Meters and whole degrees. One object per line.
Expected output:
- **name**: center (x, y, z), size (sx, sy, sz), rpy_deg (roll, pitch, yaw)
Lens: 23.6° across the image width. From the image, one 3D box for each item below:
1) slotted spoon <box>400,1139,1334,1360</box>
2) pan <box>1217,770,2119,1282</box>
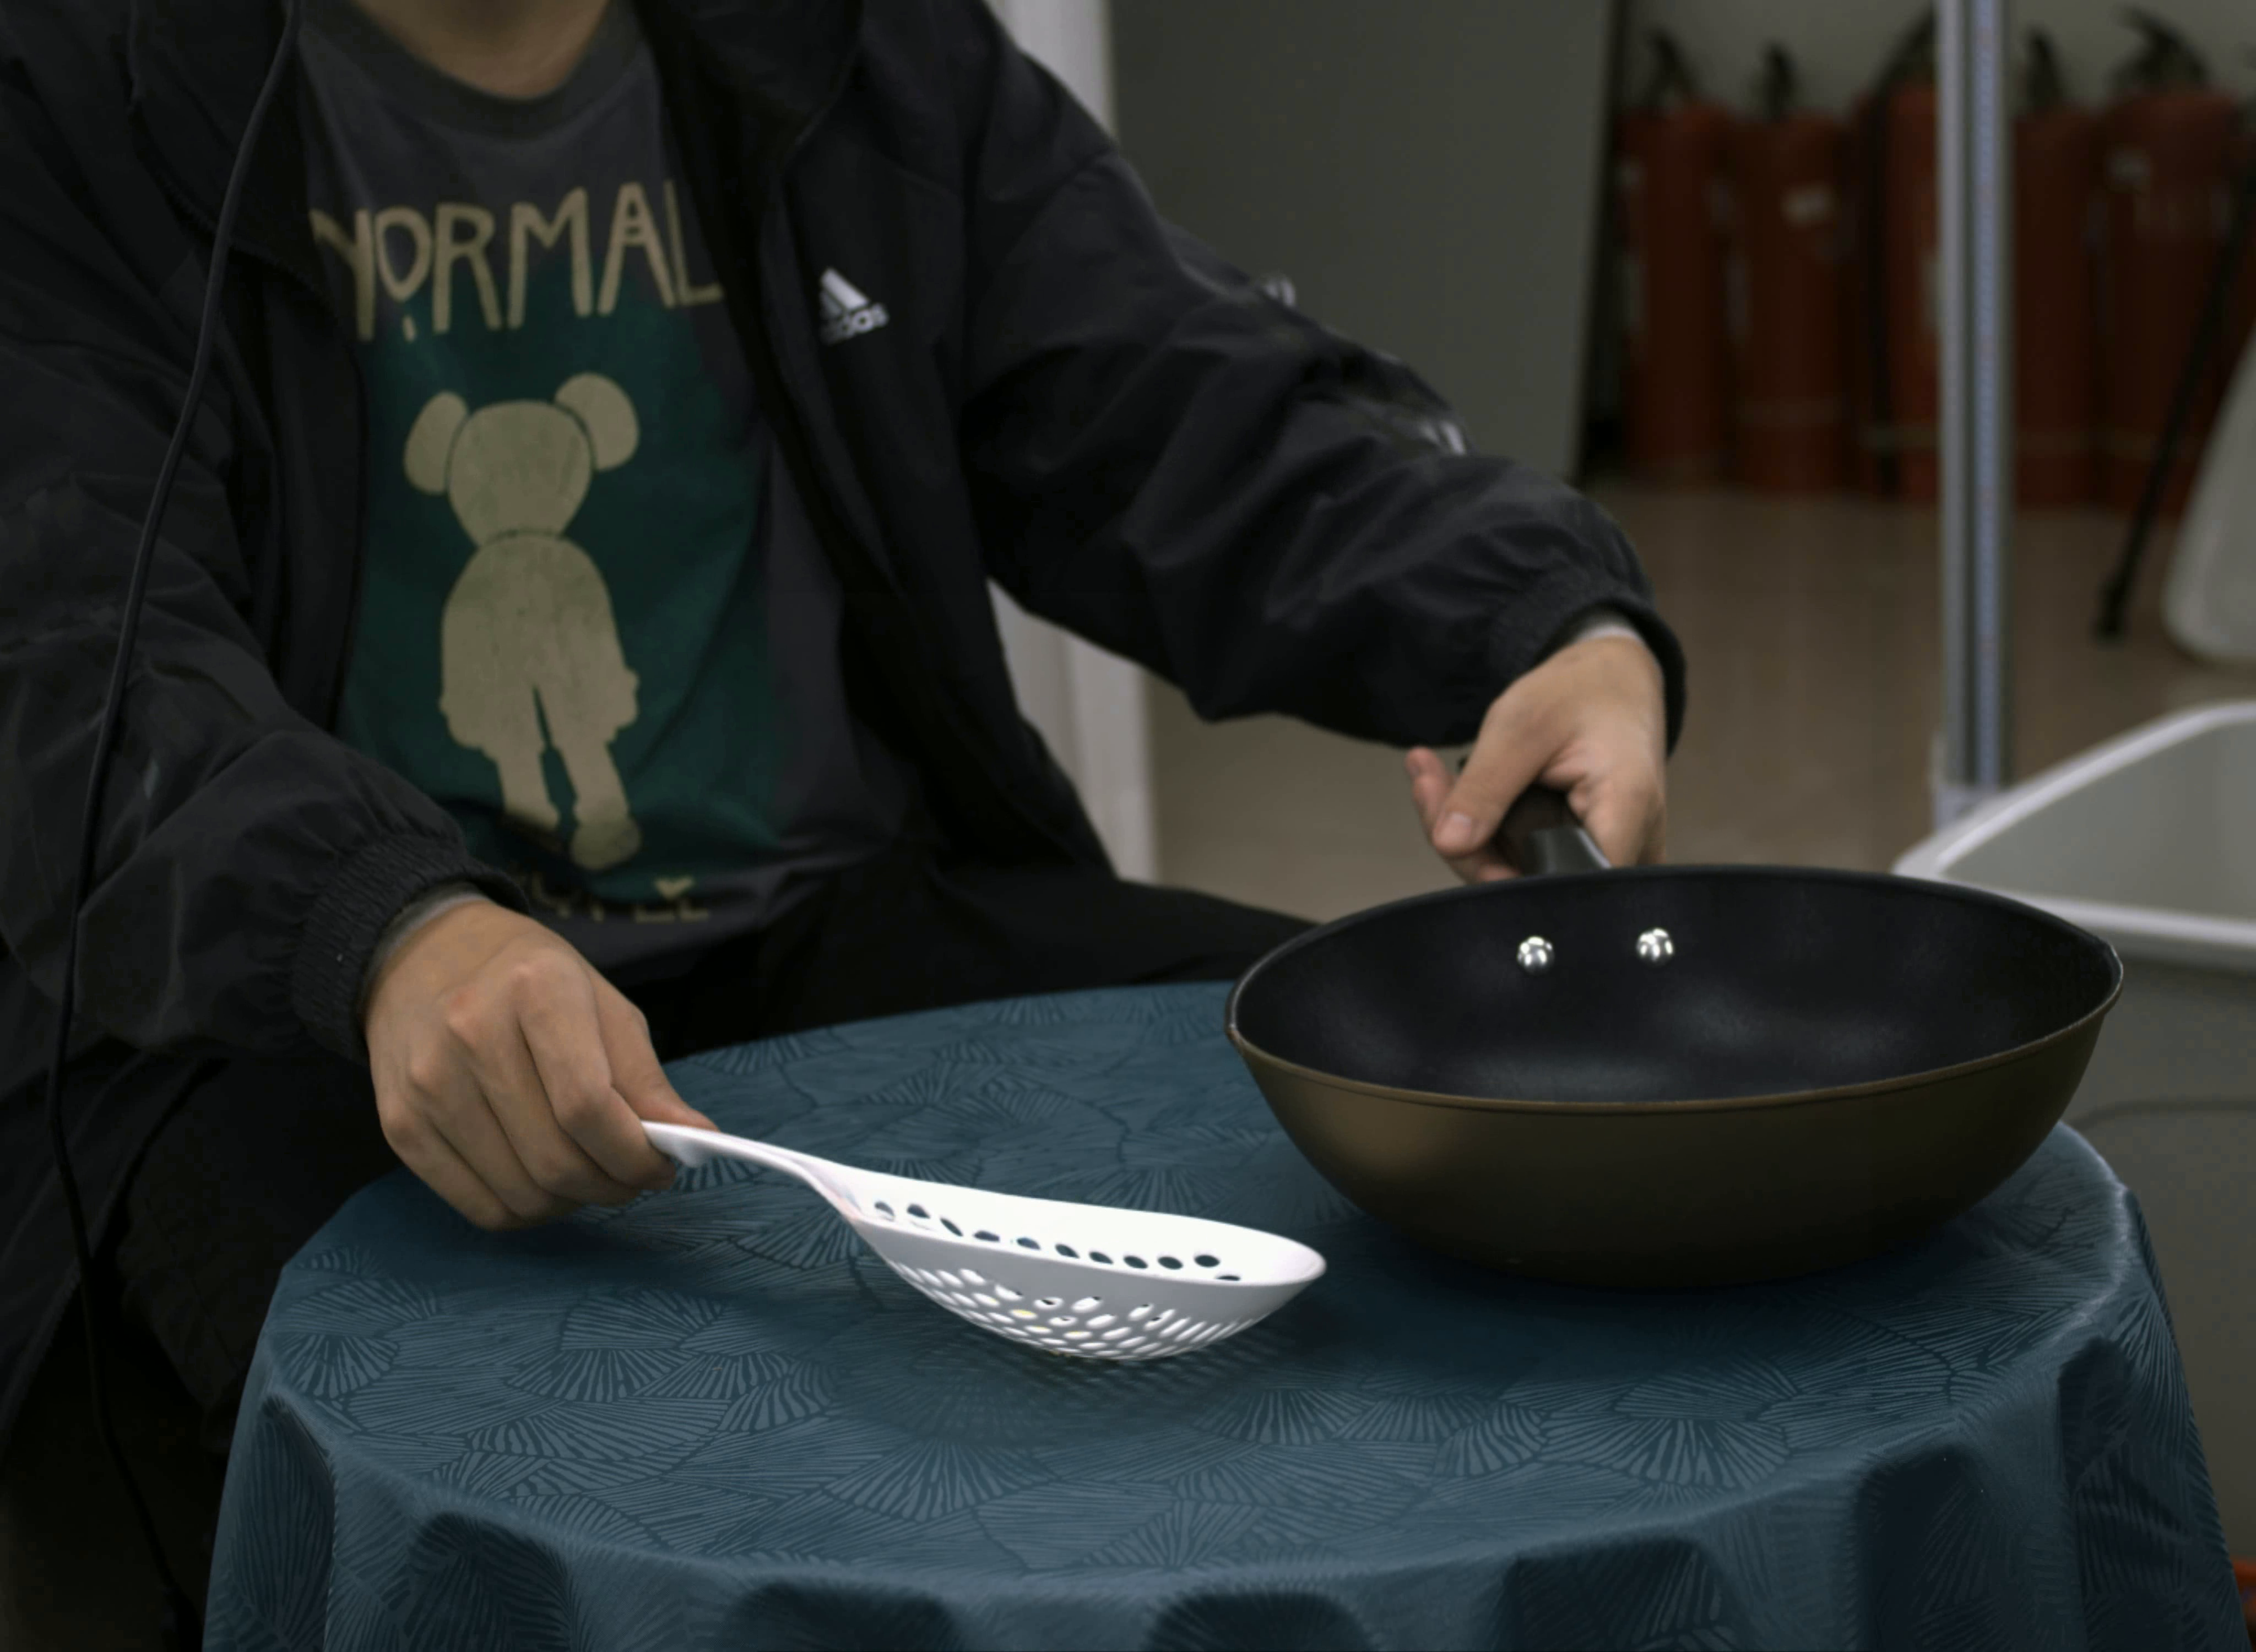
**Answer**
- **slotted spoon**: center (-0.093, 0.120, 1.678), size (0.350, 0.051, 0.134), rpy_deg (12, 7, 38)
- **pan**: center (0.162, 0.064, 1.787), size (0.284, 0.088, 0.465), rpy_deg (-5, 12, -5)
